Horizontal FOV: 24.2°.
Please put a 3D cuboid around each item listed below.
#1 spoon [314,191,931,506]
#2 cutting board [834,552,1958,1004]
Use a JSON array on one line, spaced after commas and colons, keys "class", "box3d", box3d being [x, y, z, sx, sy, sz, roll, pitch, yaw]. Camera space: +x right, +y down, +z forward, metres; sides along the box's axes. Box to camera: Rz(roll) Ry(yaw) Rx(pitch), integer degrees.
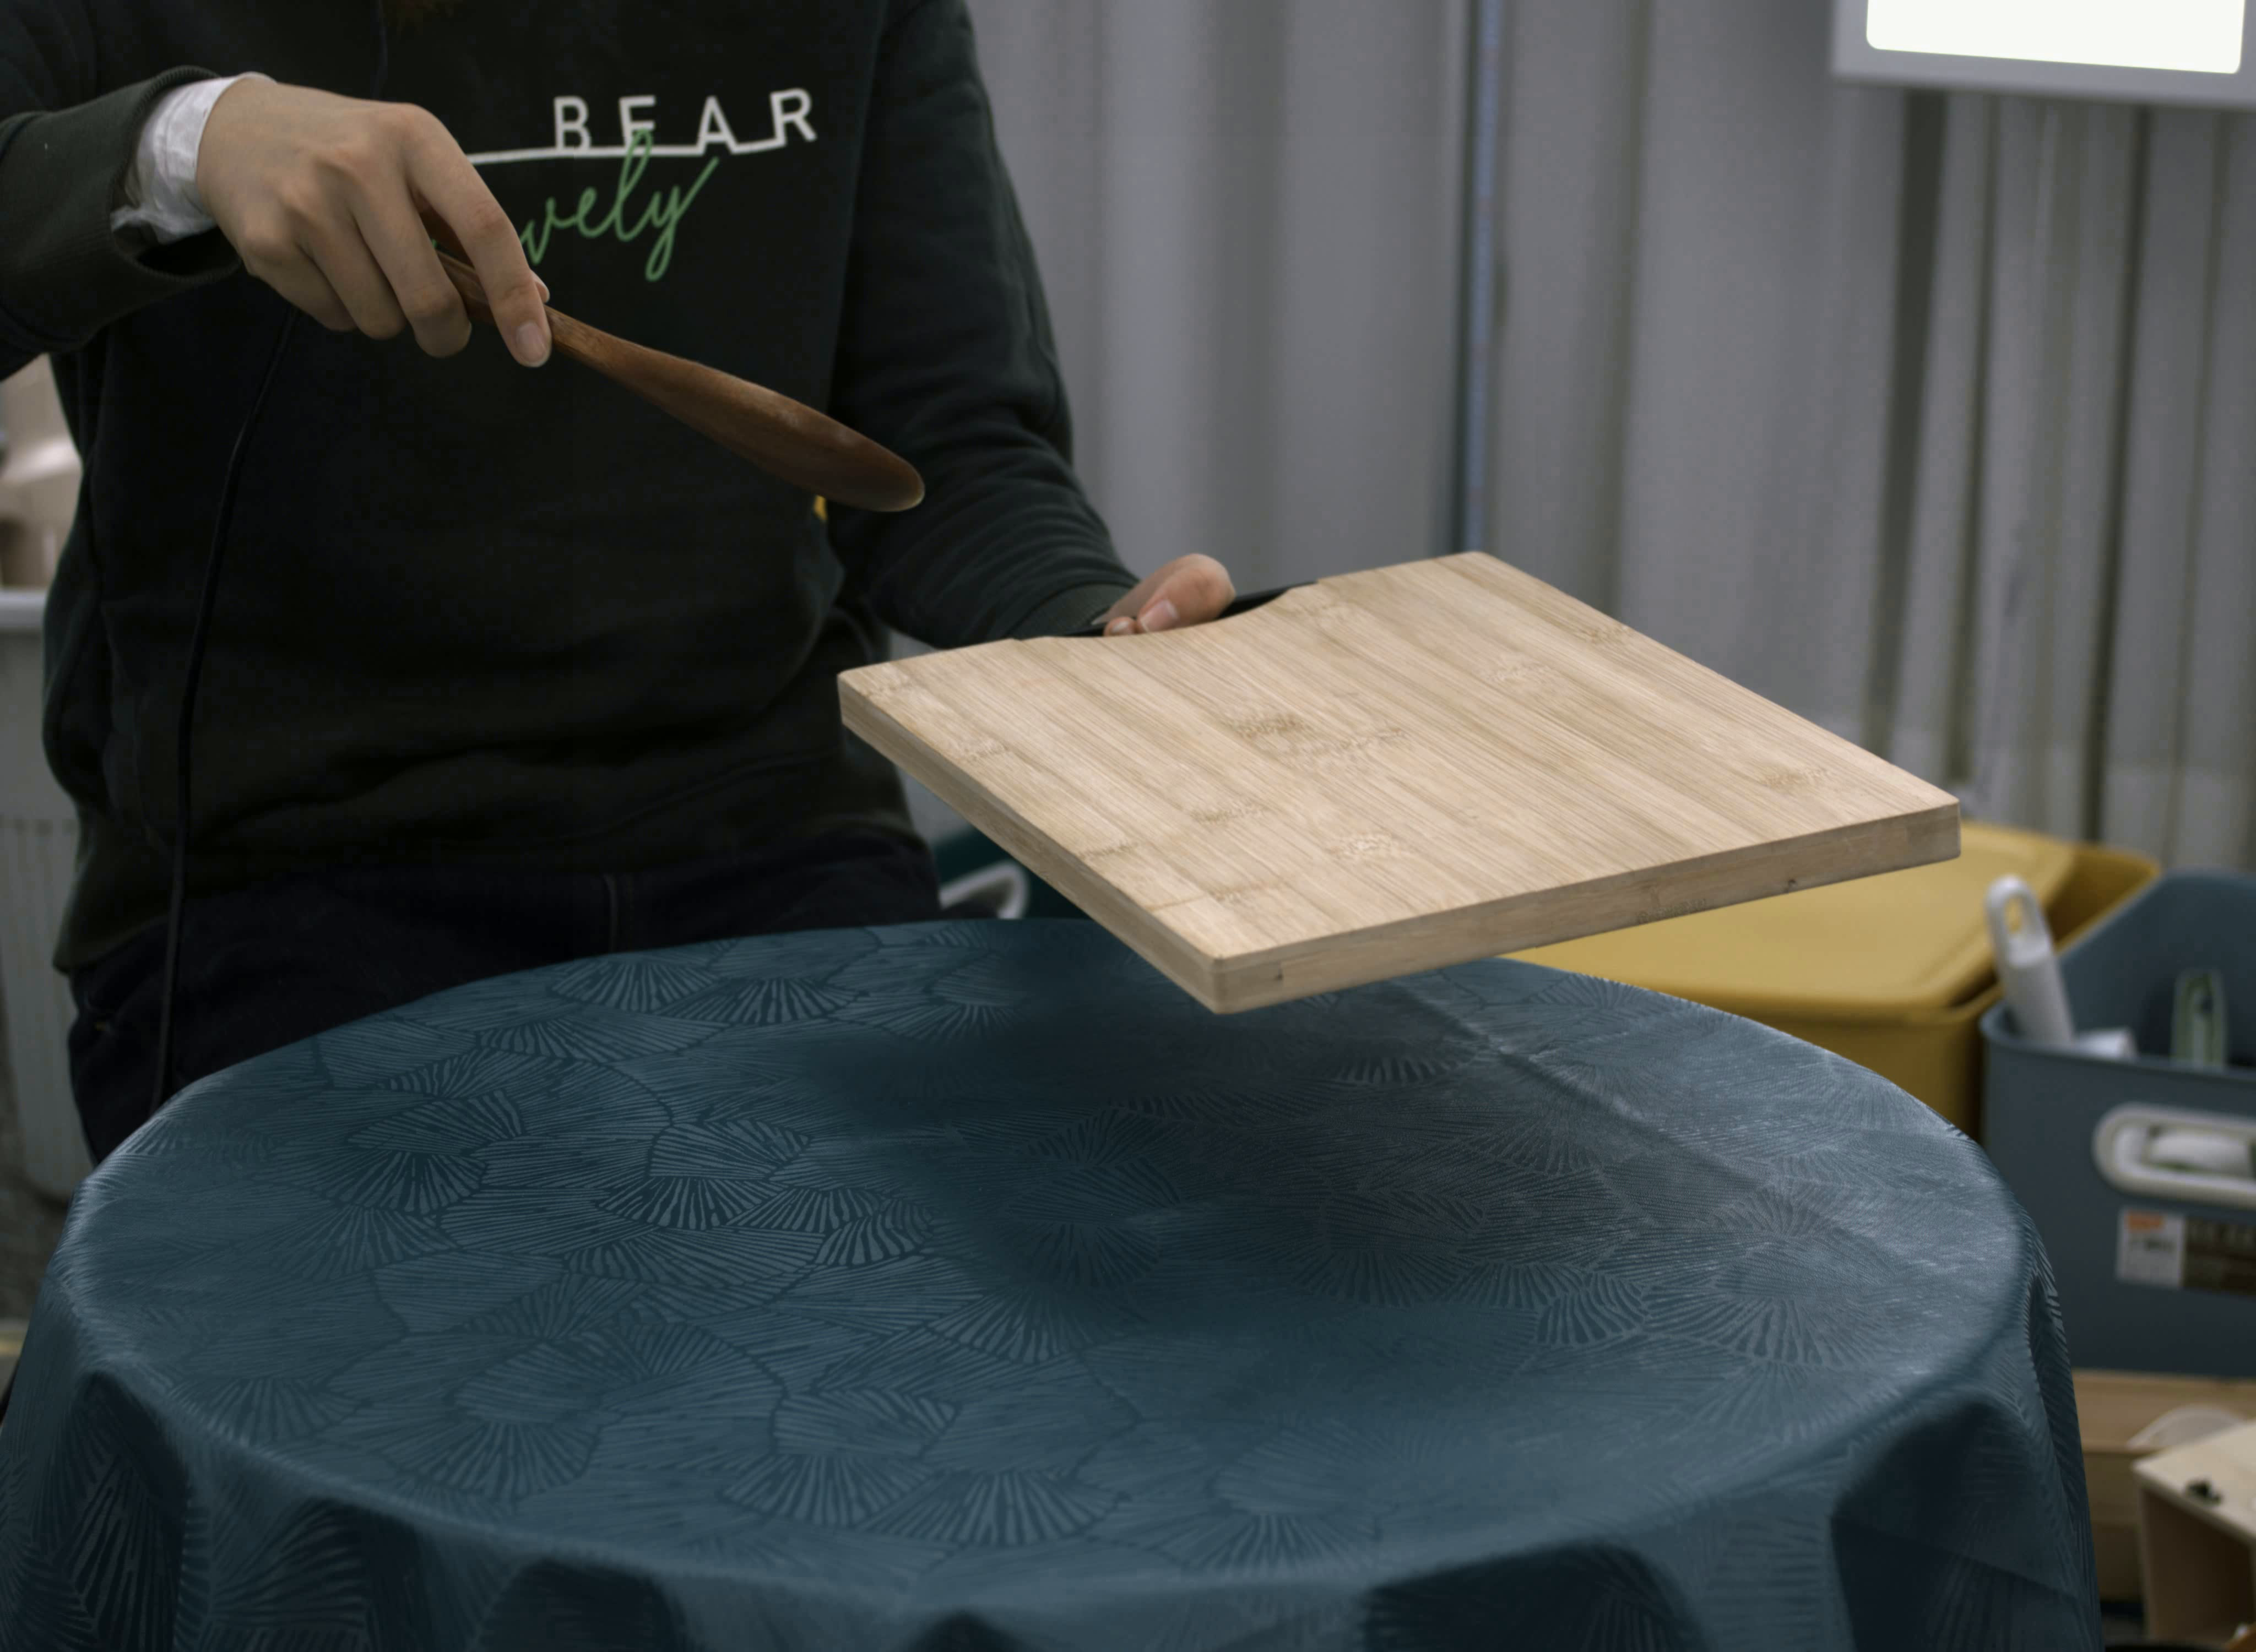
[{"class": "spoon", "box3d": [-0.155, -0.142, 1.585, 0.214, 0.017, 0.076, 26, -2, 15]}, {"class": "cutting board", "box3d": [0.073, -0.022, 1.667, 0.251, 0.024, 0.344, -11, 19, -20]}]
